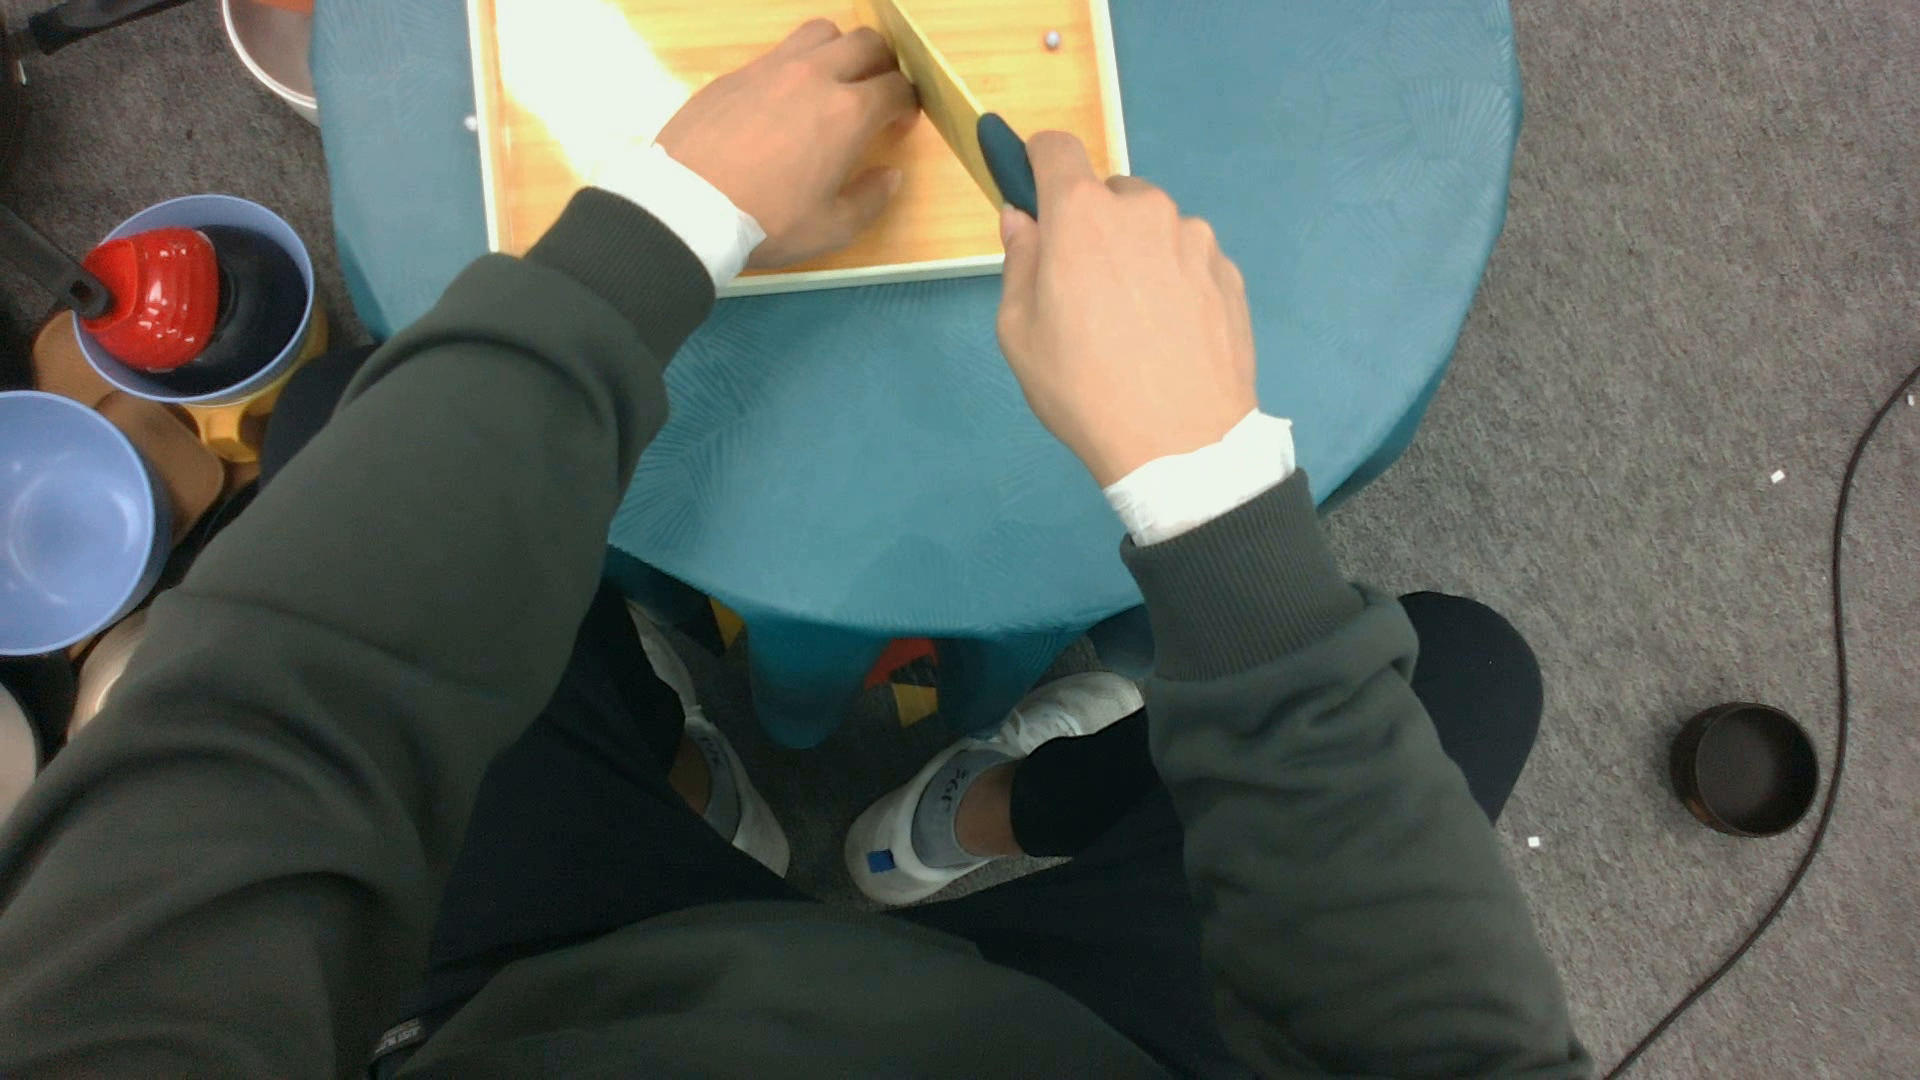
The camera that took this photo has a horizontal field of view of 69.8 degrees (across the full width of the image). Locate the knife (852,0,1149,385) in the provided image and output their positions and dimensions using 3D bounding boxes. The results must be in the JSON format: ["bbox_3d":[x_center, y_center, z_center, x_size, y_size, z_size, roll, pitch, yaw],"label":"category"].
[{"bbox_3d":[0.003,-0.165,0.584,0.027,0.081,0.290,-29,59,-1],"label":"knife"}]

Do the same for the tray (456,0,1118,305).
[{"bbox_3d":[-0.082,-0.219,0.663,0.300,0.027,0.191,-6,85,-7],"label":"tray"}]
